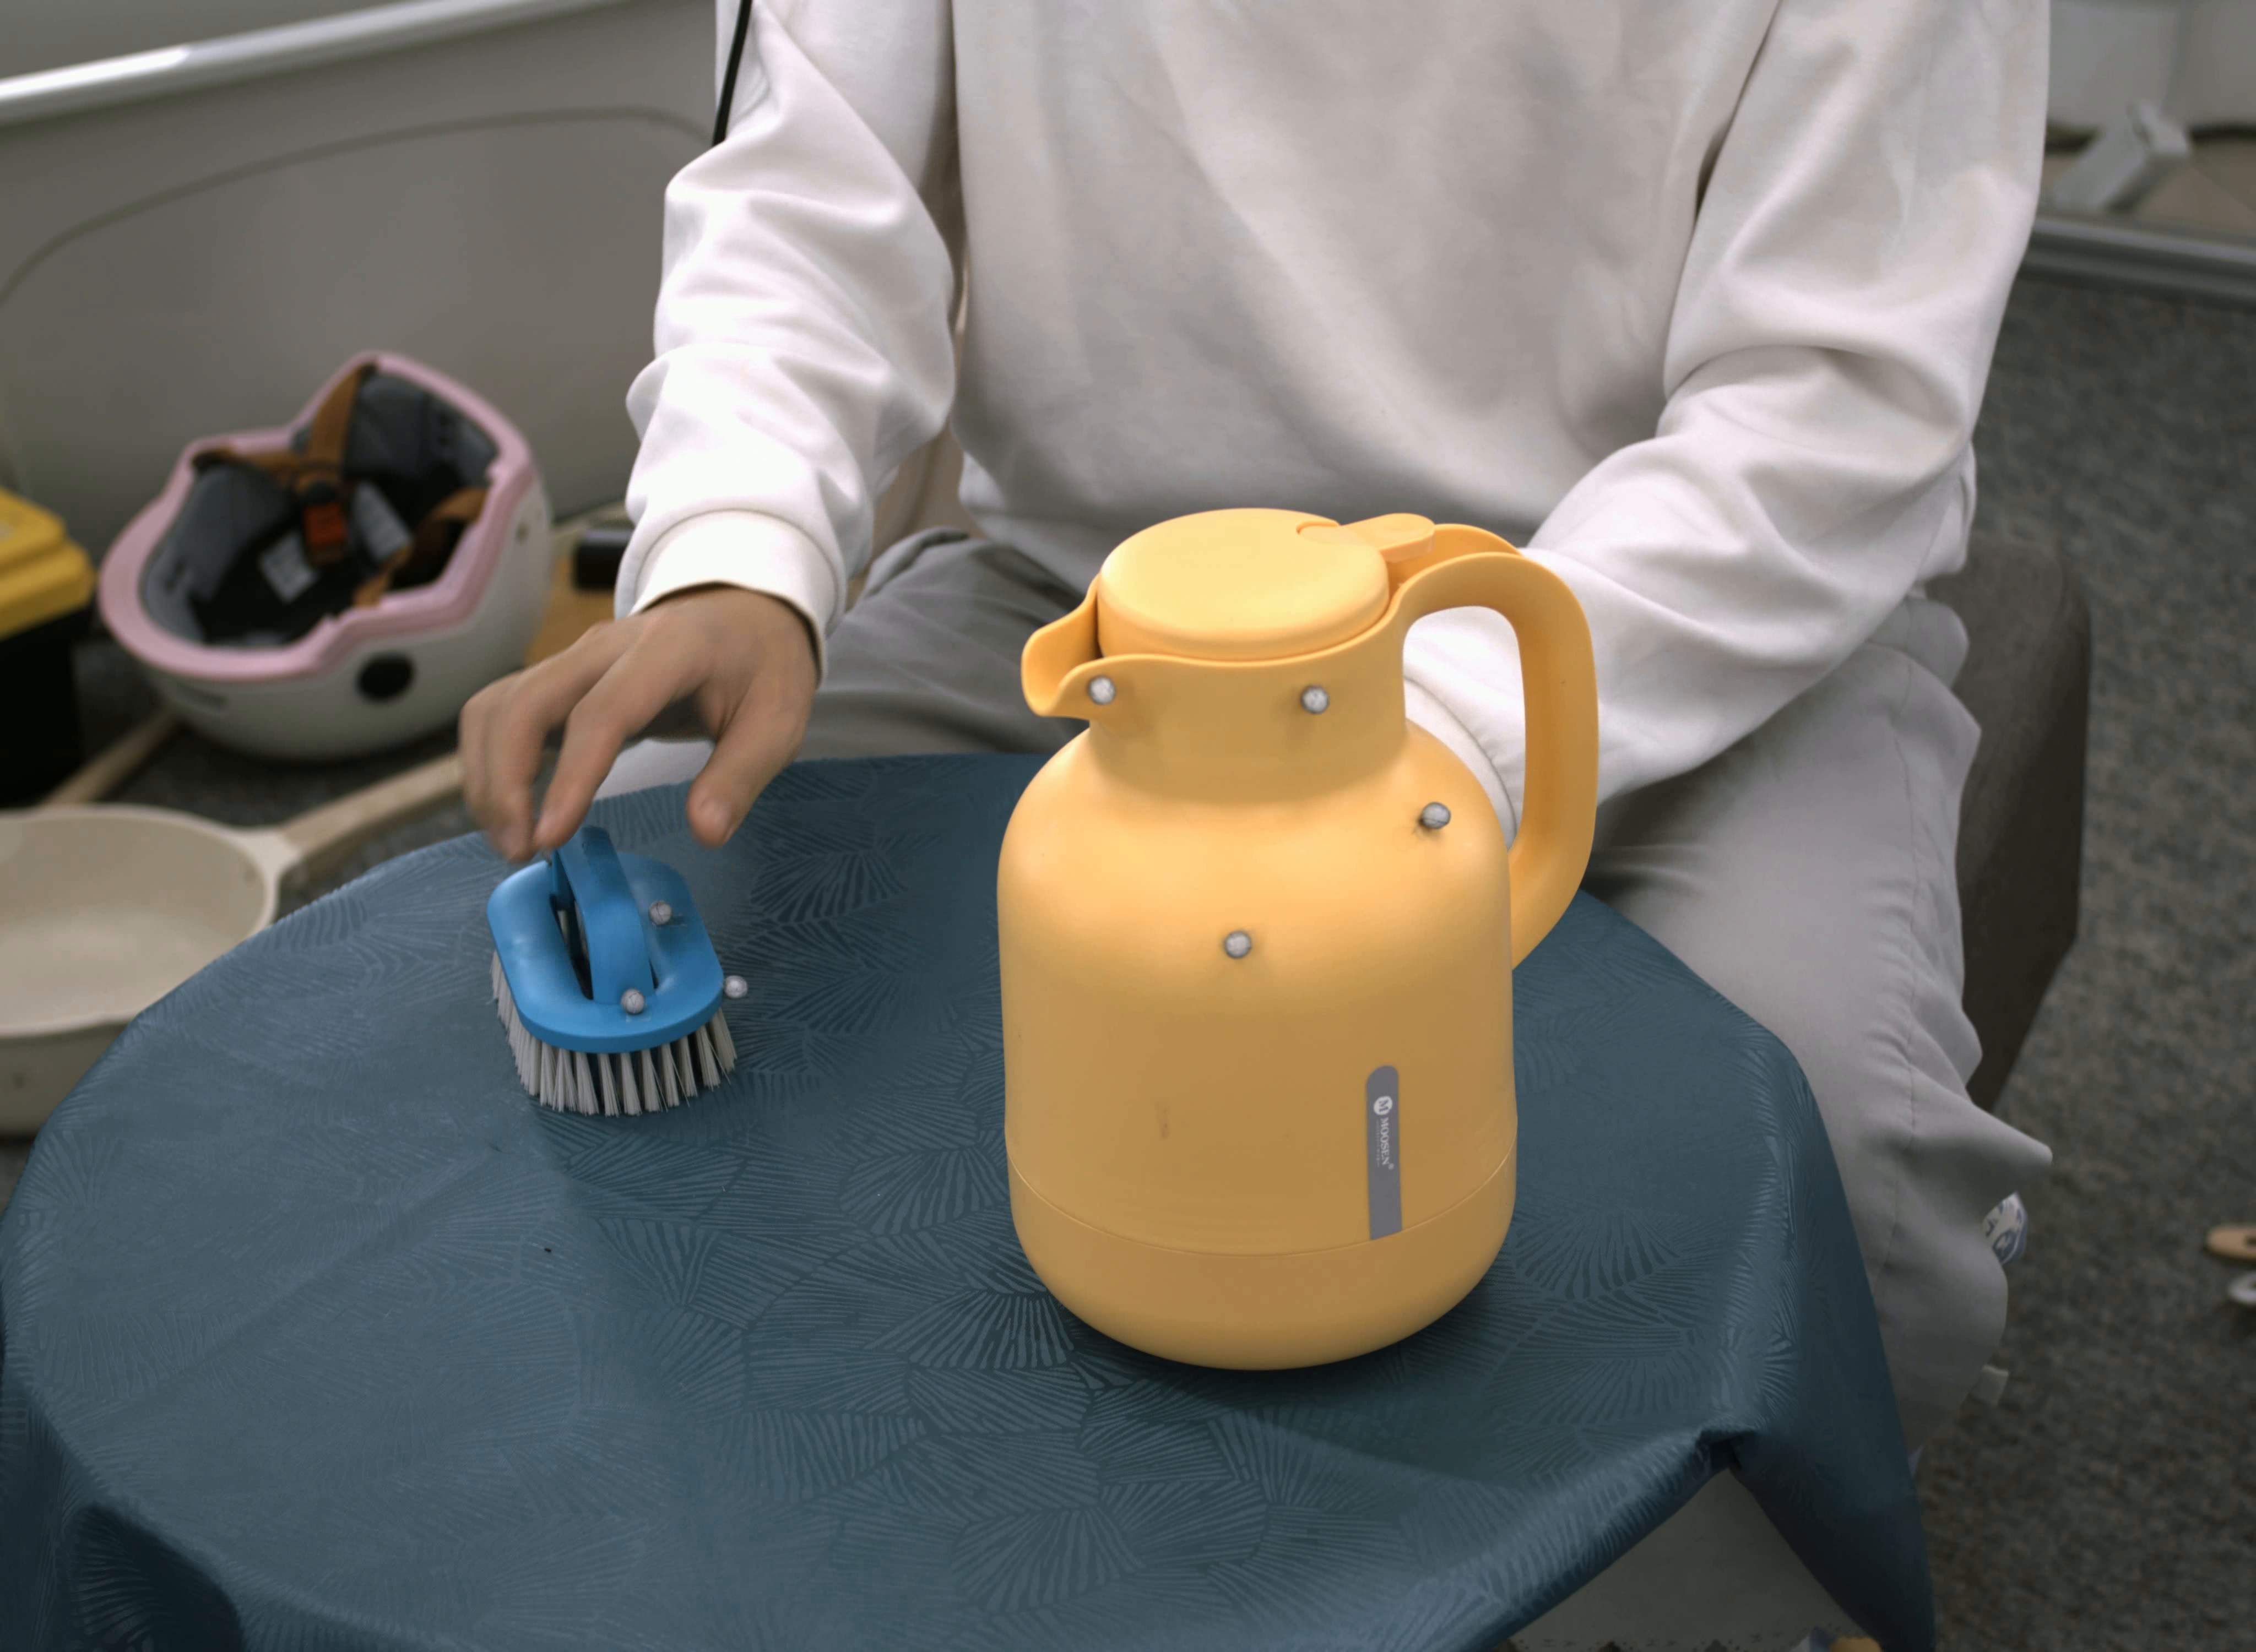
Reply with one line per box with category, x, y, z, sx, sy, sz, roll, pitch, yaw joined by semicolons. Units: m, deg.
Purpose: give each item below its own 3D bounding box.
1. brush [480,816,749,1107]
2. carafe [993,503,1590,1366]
brush;-0.183;0.039;1.969;0.084;0.063;0.143;-11;28;-9
carafe;0.056;0.025;1.767;0.203;0.257;0.164;-17;32;-23
